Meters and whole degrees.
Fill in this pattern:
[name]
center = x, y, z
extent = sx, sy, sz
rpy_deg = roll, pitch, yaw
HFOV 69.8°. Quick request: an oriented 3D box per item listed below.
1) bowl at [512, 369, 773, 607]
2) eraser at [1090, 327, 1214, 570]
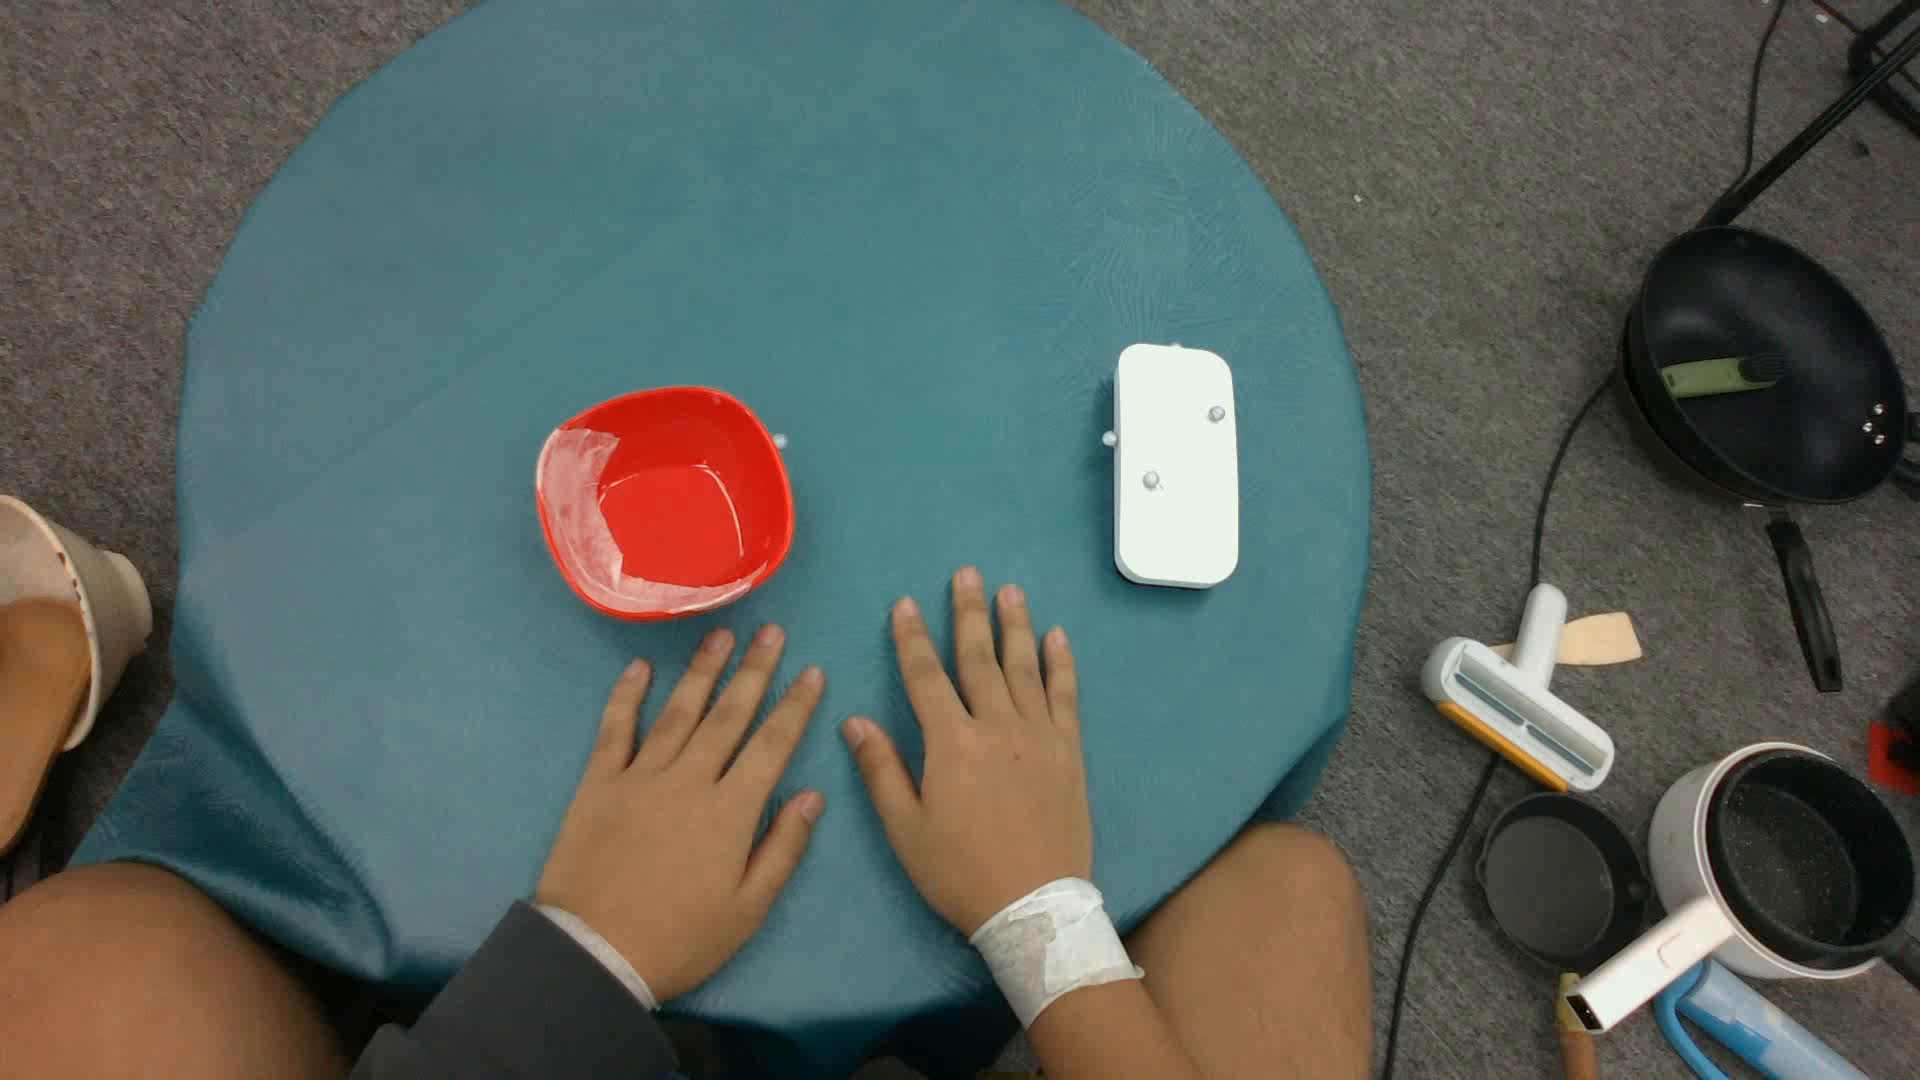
[bowl]
center = -0.146, -0.018, 0.641
extent = 0.119, 0.051, 0.119
rpy_deg = 4, 69, -10
[eraser]
center = 0.096, -0.049, 0.708
extent = 0.063, 0.034, 0.132
rpy_deg = 6, 67, -7
